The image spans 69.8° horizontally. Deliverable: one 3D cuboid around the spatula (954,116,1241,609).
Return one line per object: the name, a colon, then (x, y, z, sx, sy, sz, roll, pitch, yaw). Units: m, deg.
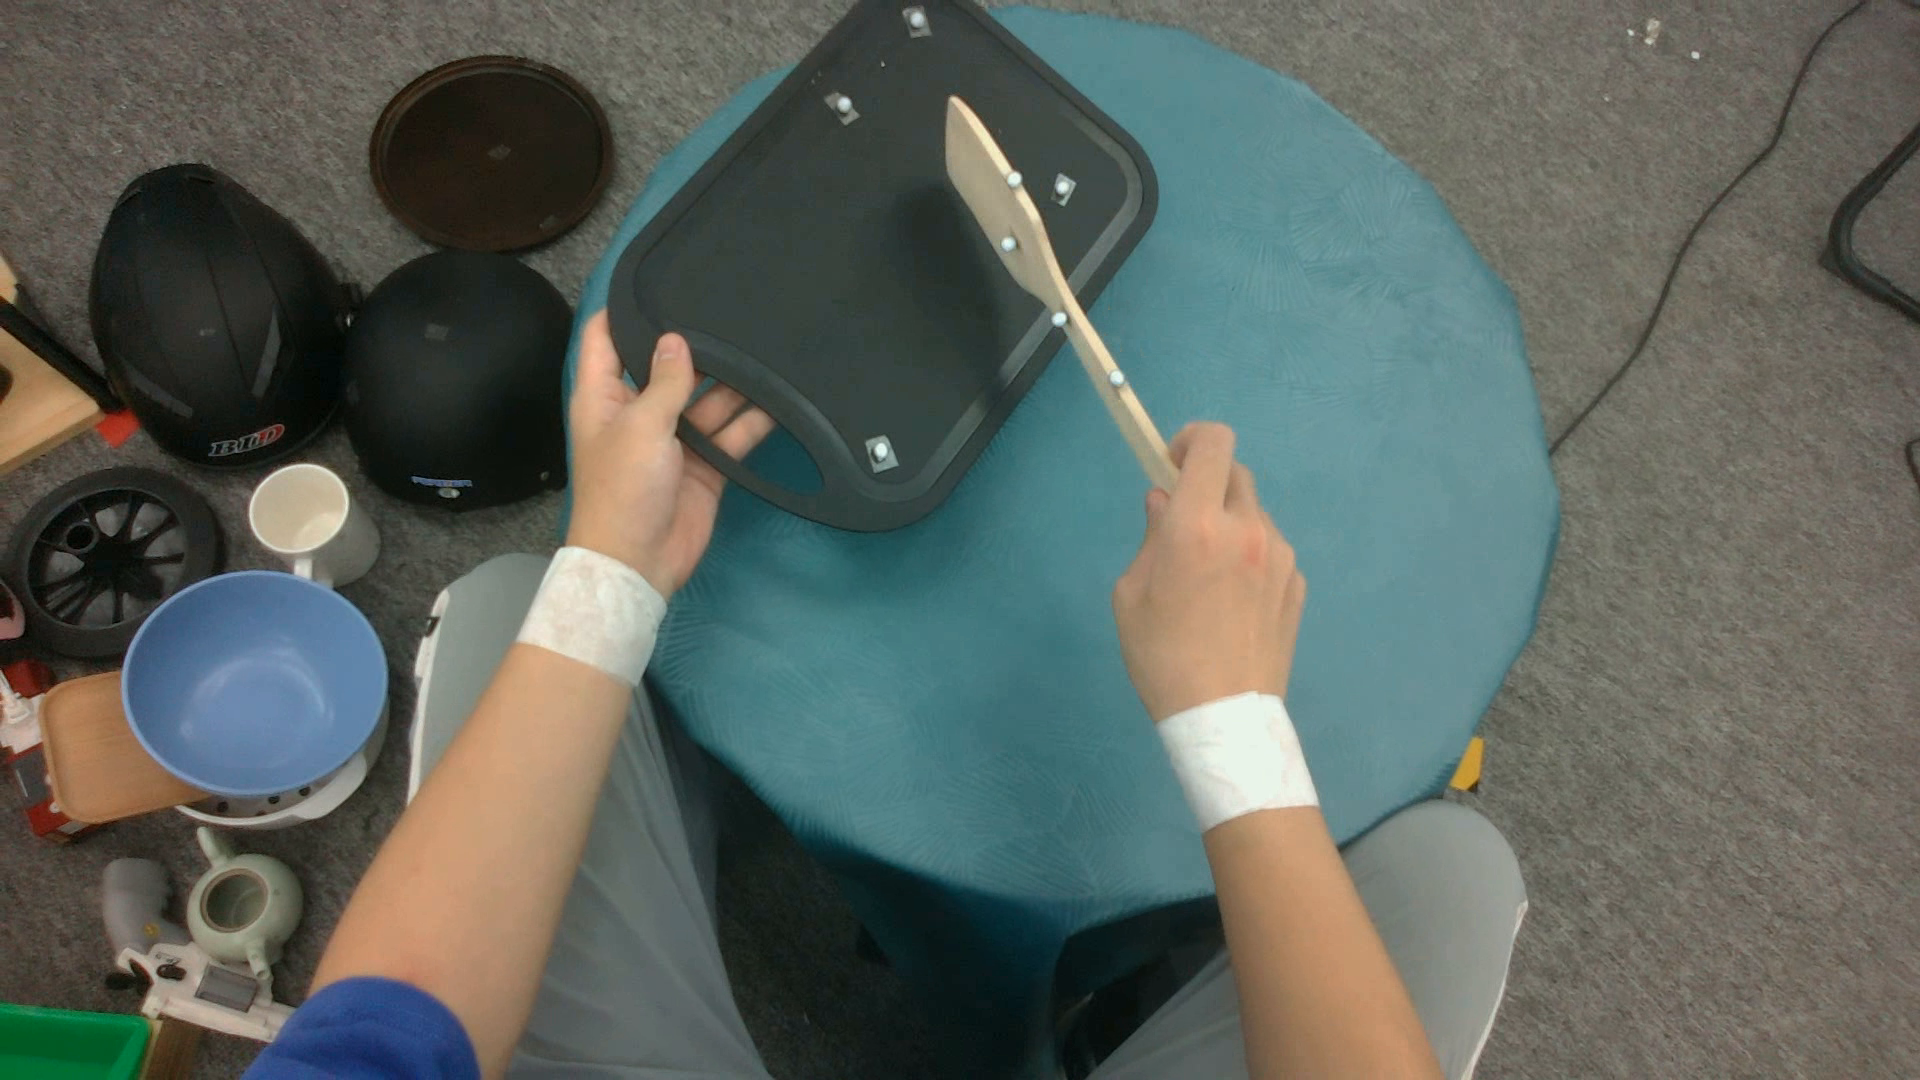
spatula: (0.069, -0.092, 0.716, 0.011, 0.072, 0.293, -23, 72, -17)

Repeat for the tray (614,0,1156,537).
tray: (-0.035, -0.157, 0.770, 0.211, 0.010, 0.326, 38, 68, -4)
